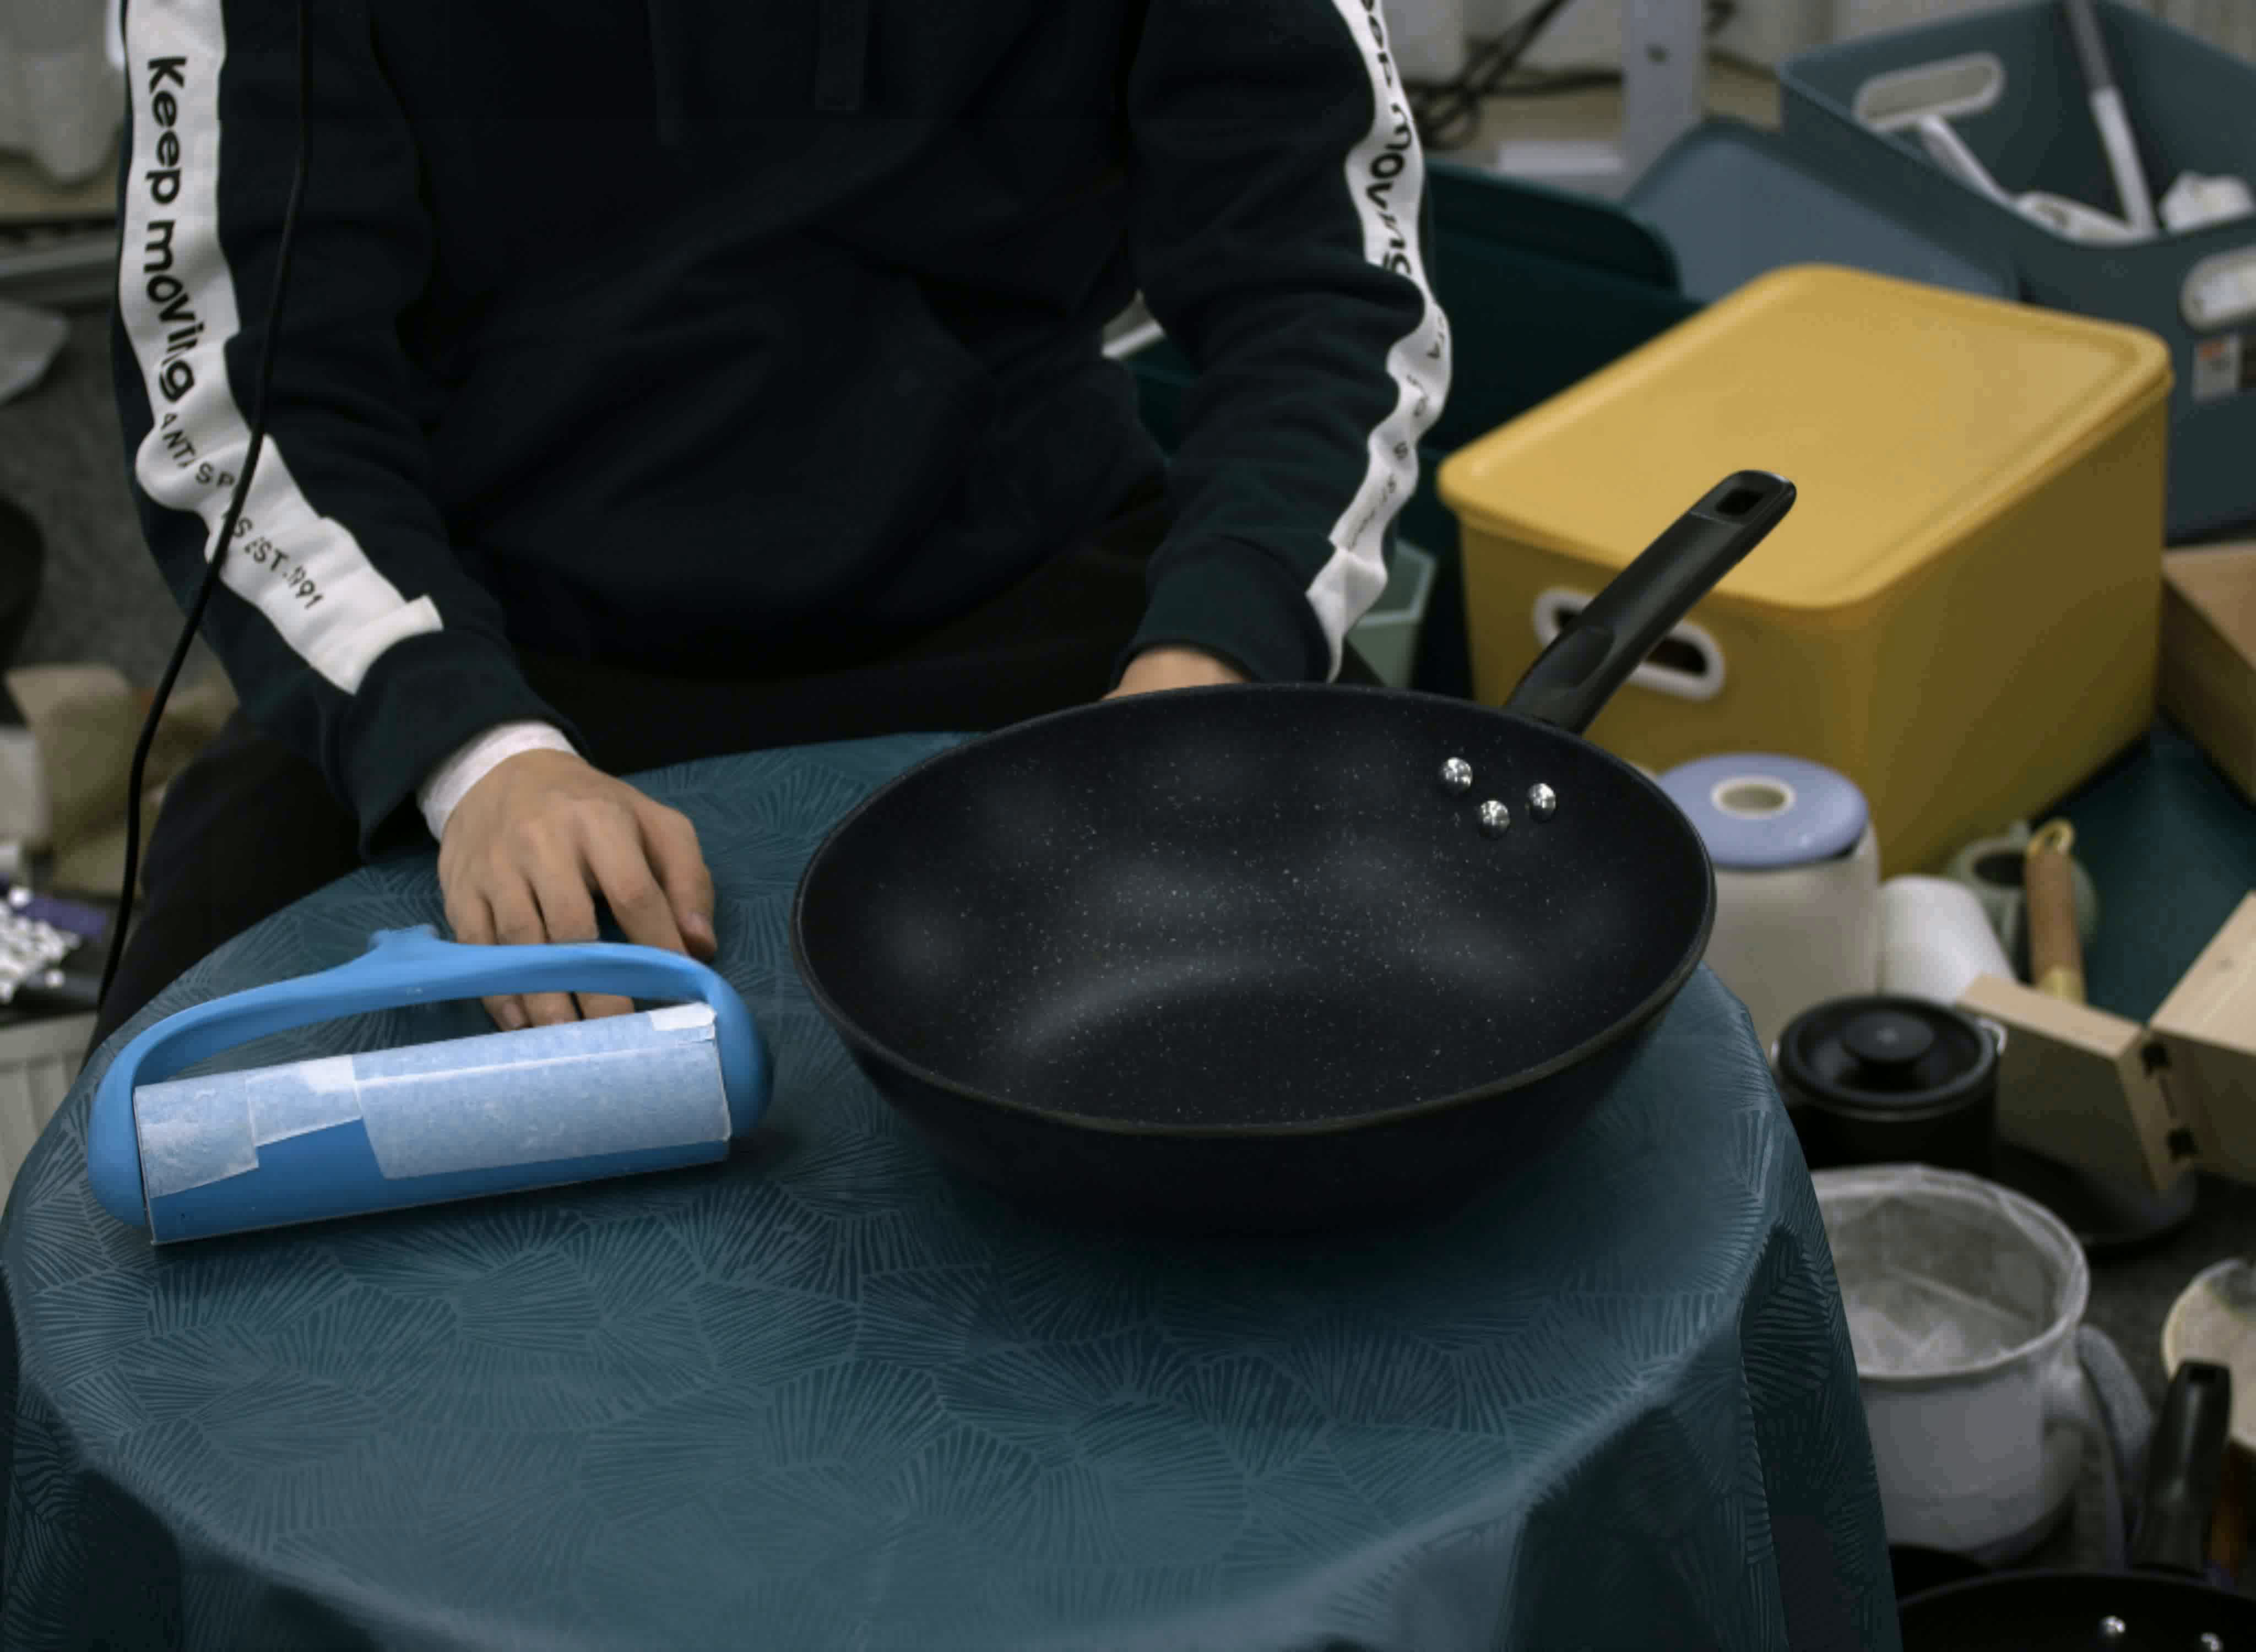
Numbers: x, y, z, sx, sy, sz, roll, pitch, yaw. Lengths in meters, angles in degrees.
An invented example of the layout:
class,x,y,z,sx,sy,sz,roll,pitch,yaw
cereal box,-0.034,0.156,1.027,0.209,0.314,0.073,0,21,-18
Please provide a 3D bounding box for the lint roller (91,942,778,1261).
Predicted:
class,x,y,z,sx,sy,sz,roll,pitch,yaw
lint roller,-0.244,0.075,1.915,0.229,0.067,0.182,-11,28,-12

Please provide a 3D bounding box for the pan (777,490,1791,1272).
class,x,y,z,sx,sy,sz,roll,pitch,yaw
pan,0.090,0.020,1.934,0.309,0.110,0.484,19,35,33
